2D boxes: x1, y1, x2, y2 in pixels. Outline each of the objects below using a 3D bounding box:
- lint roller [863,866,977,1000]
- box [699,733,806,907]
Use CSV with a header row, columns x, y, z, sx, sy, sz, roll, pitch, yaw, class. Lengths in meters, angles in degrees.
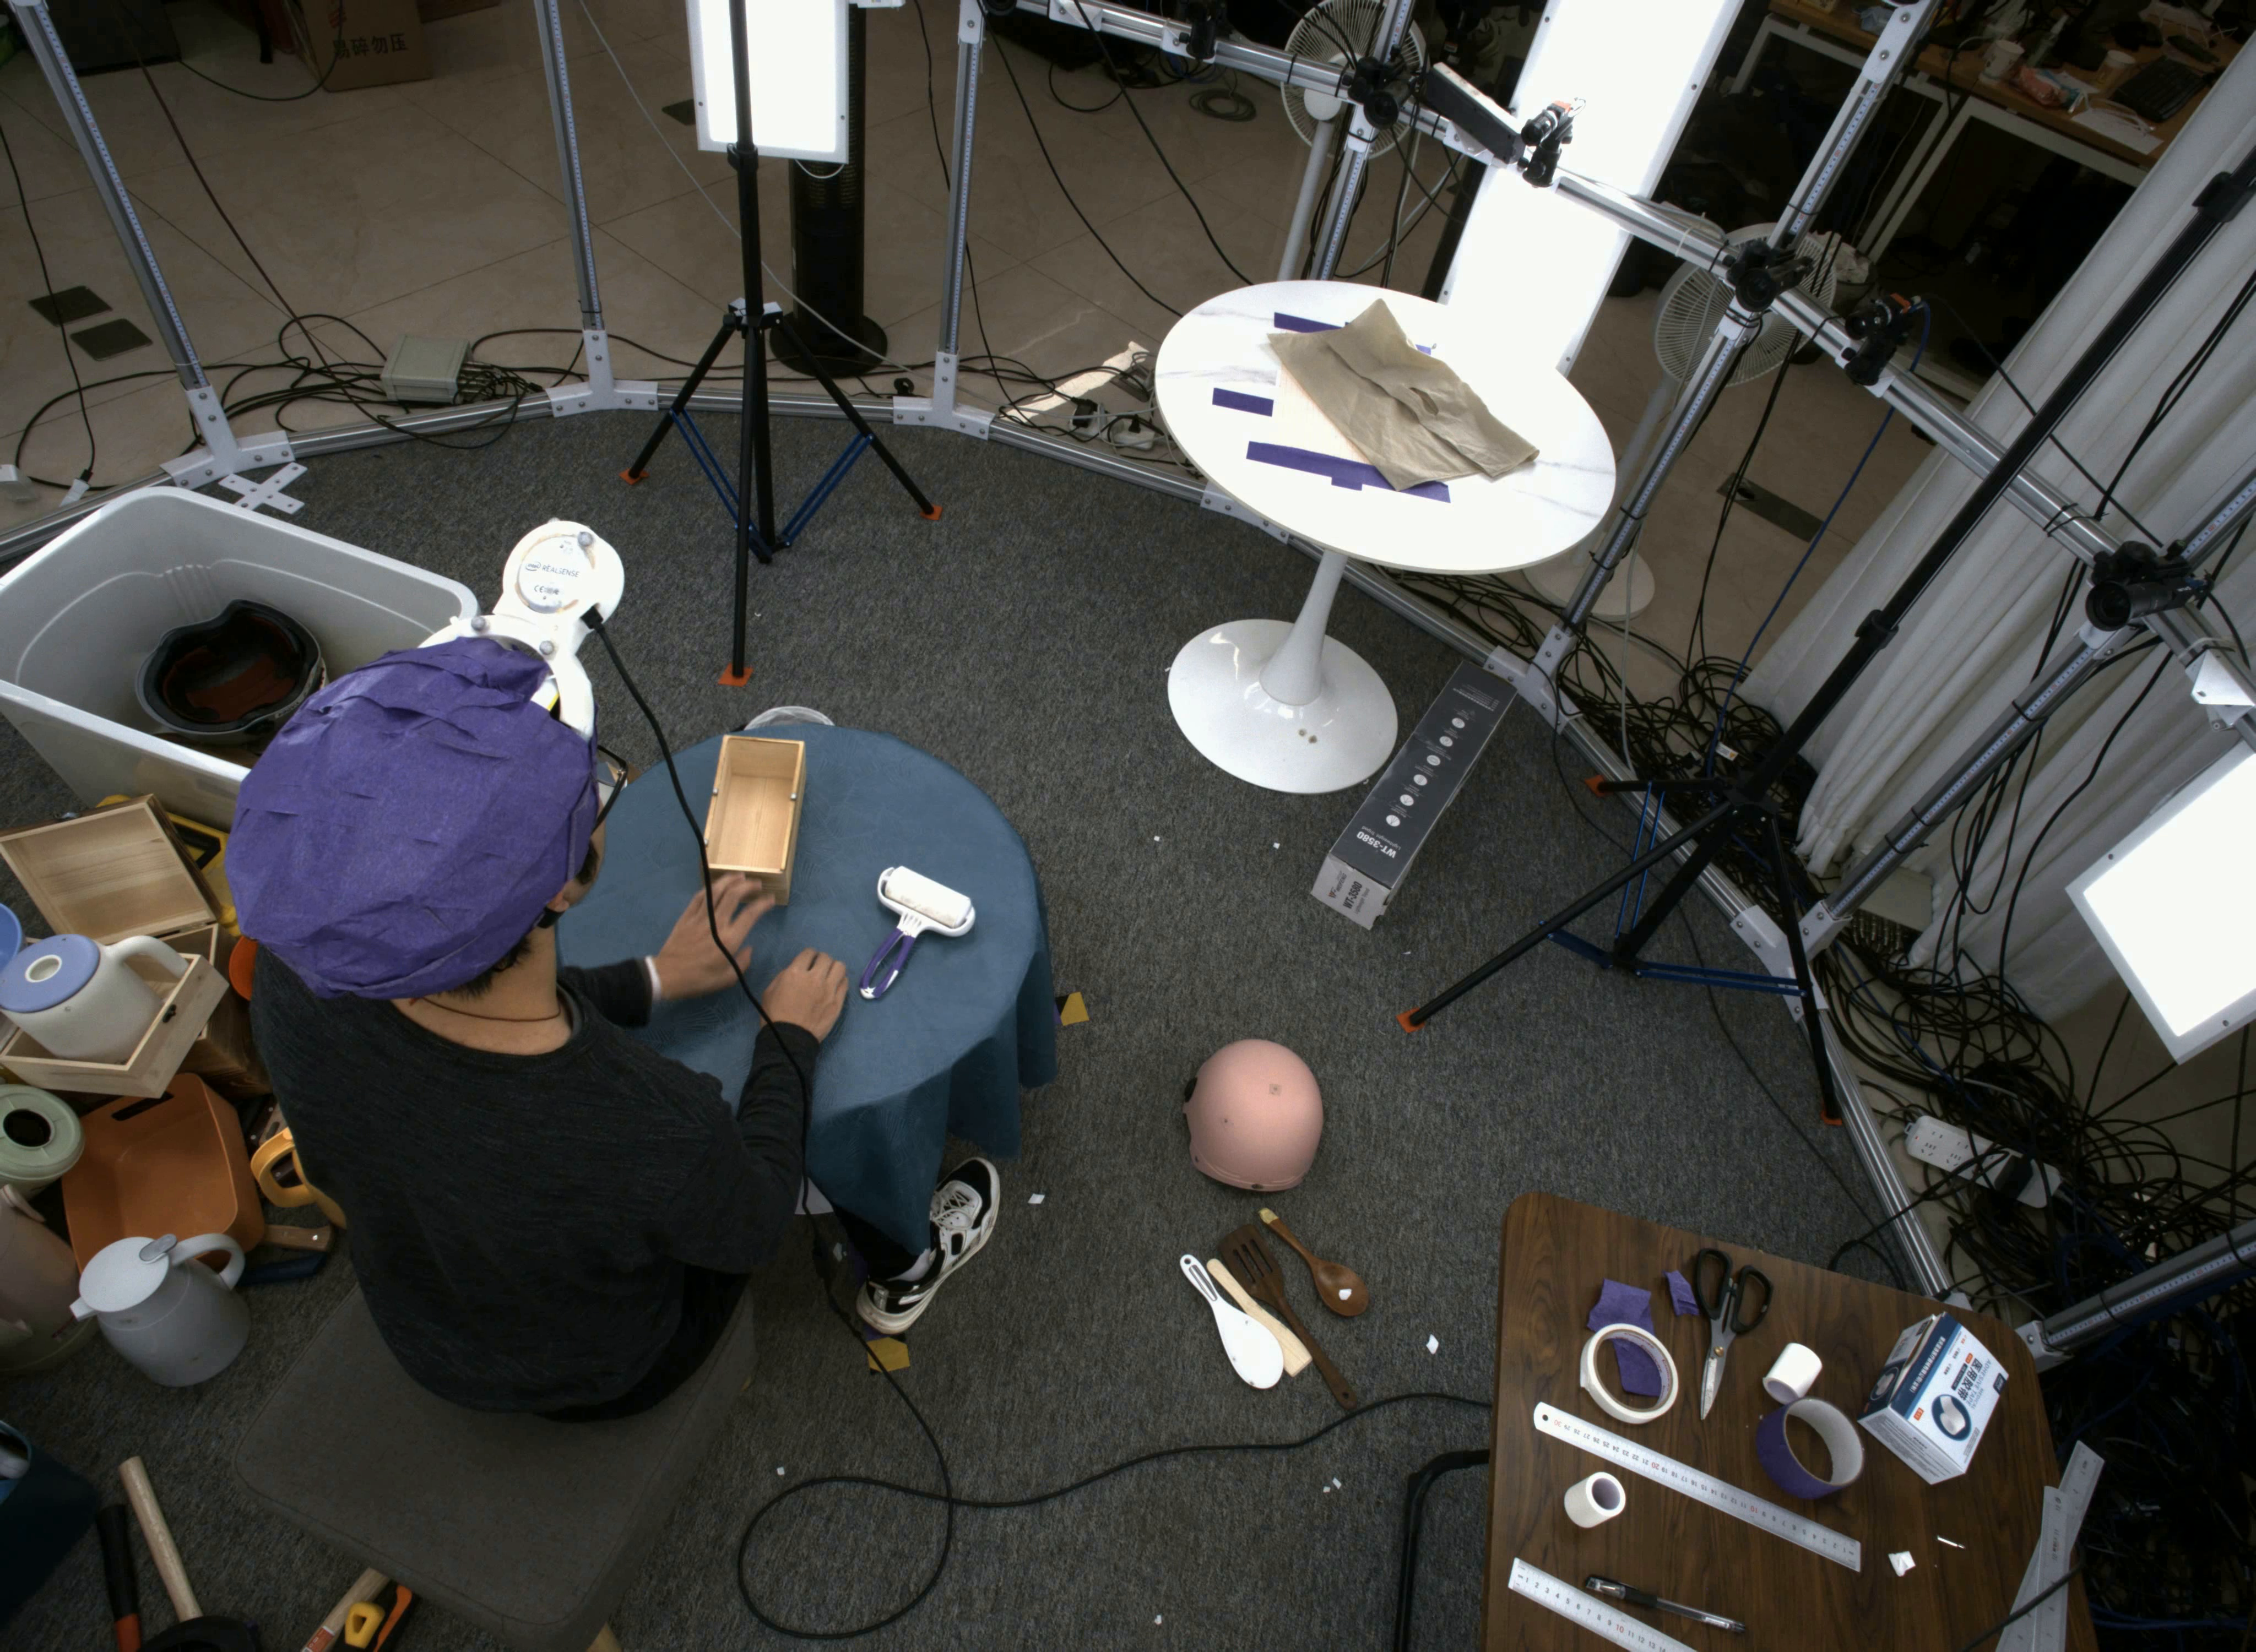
x,y,z,sx,sy,sz,roll,pitch,yaw,class
-0.282,0.134,1.626,0.131,0.051,0.180,27,50,6,lint roller
-0.479,-0.011,1.661,0.107,0.082,0.207,4,54,-11,box
